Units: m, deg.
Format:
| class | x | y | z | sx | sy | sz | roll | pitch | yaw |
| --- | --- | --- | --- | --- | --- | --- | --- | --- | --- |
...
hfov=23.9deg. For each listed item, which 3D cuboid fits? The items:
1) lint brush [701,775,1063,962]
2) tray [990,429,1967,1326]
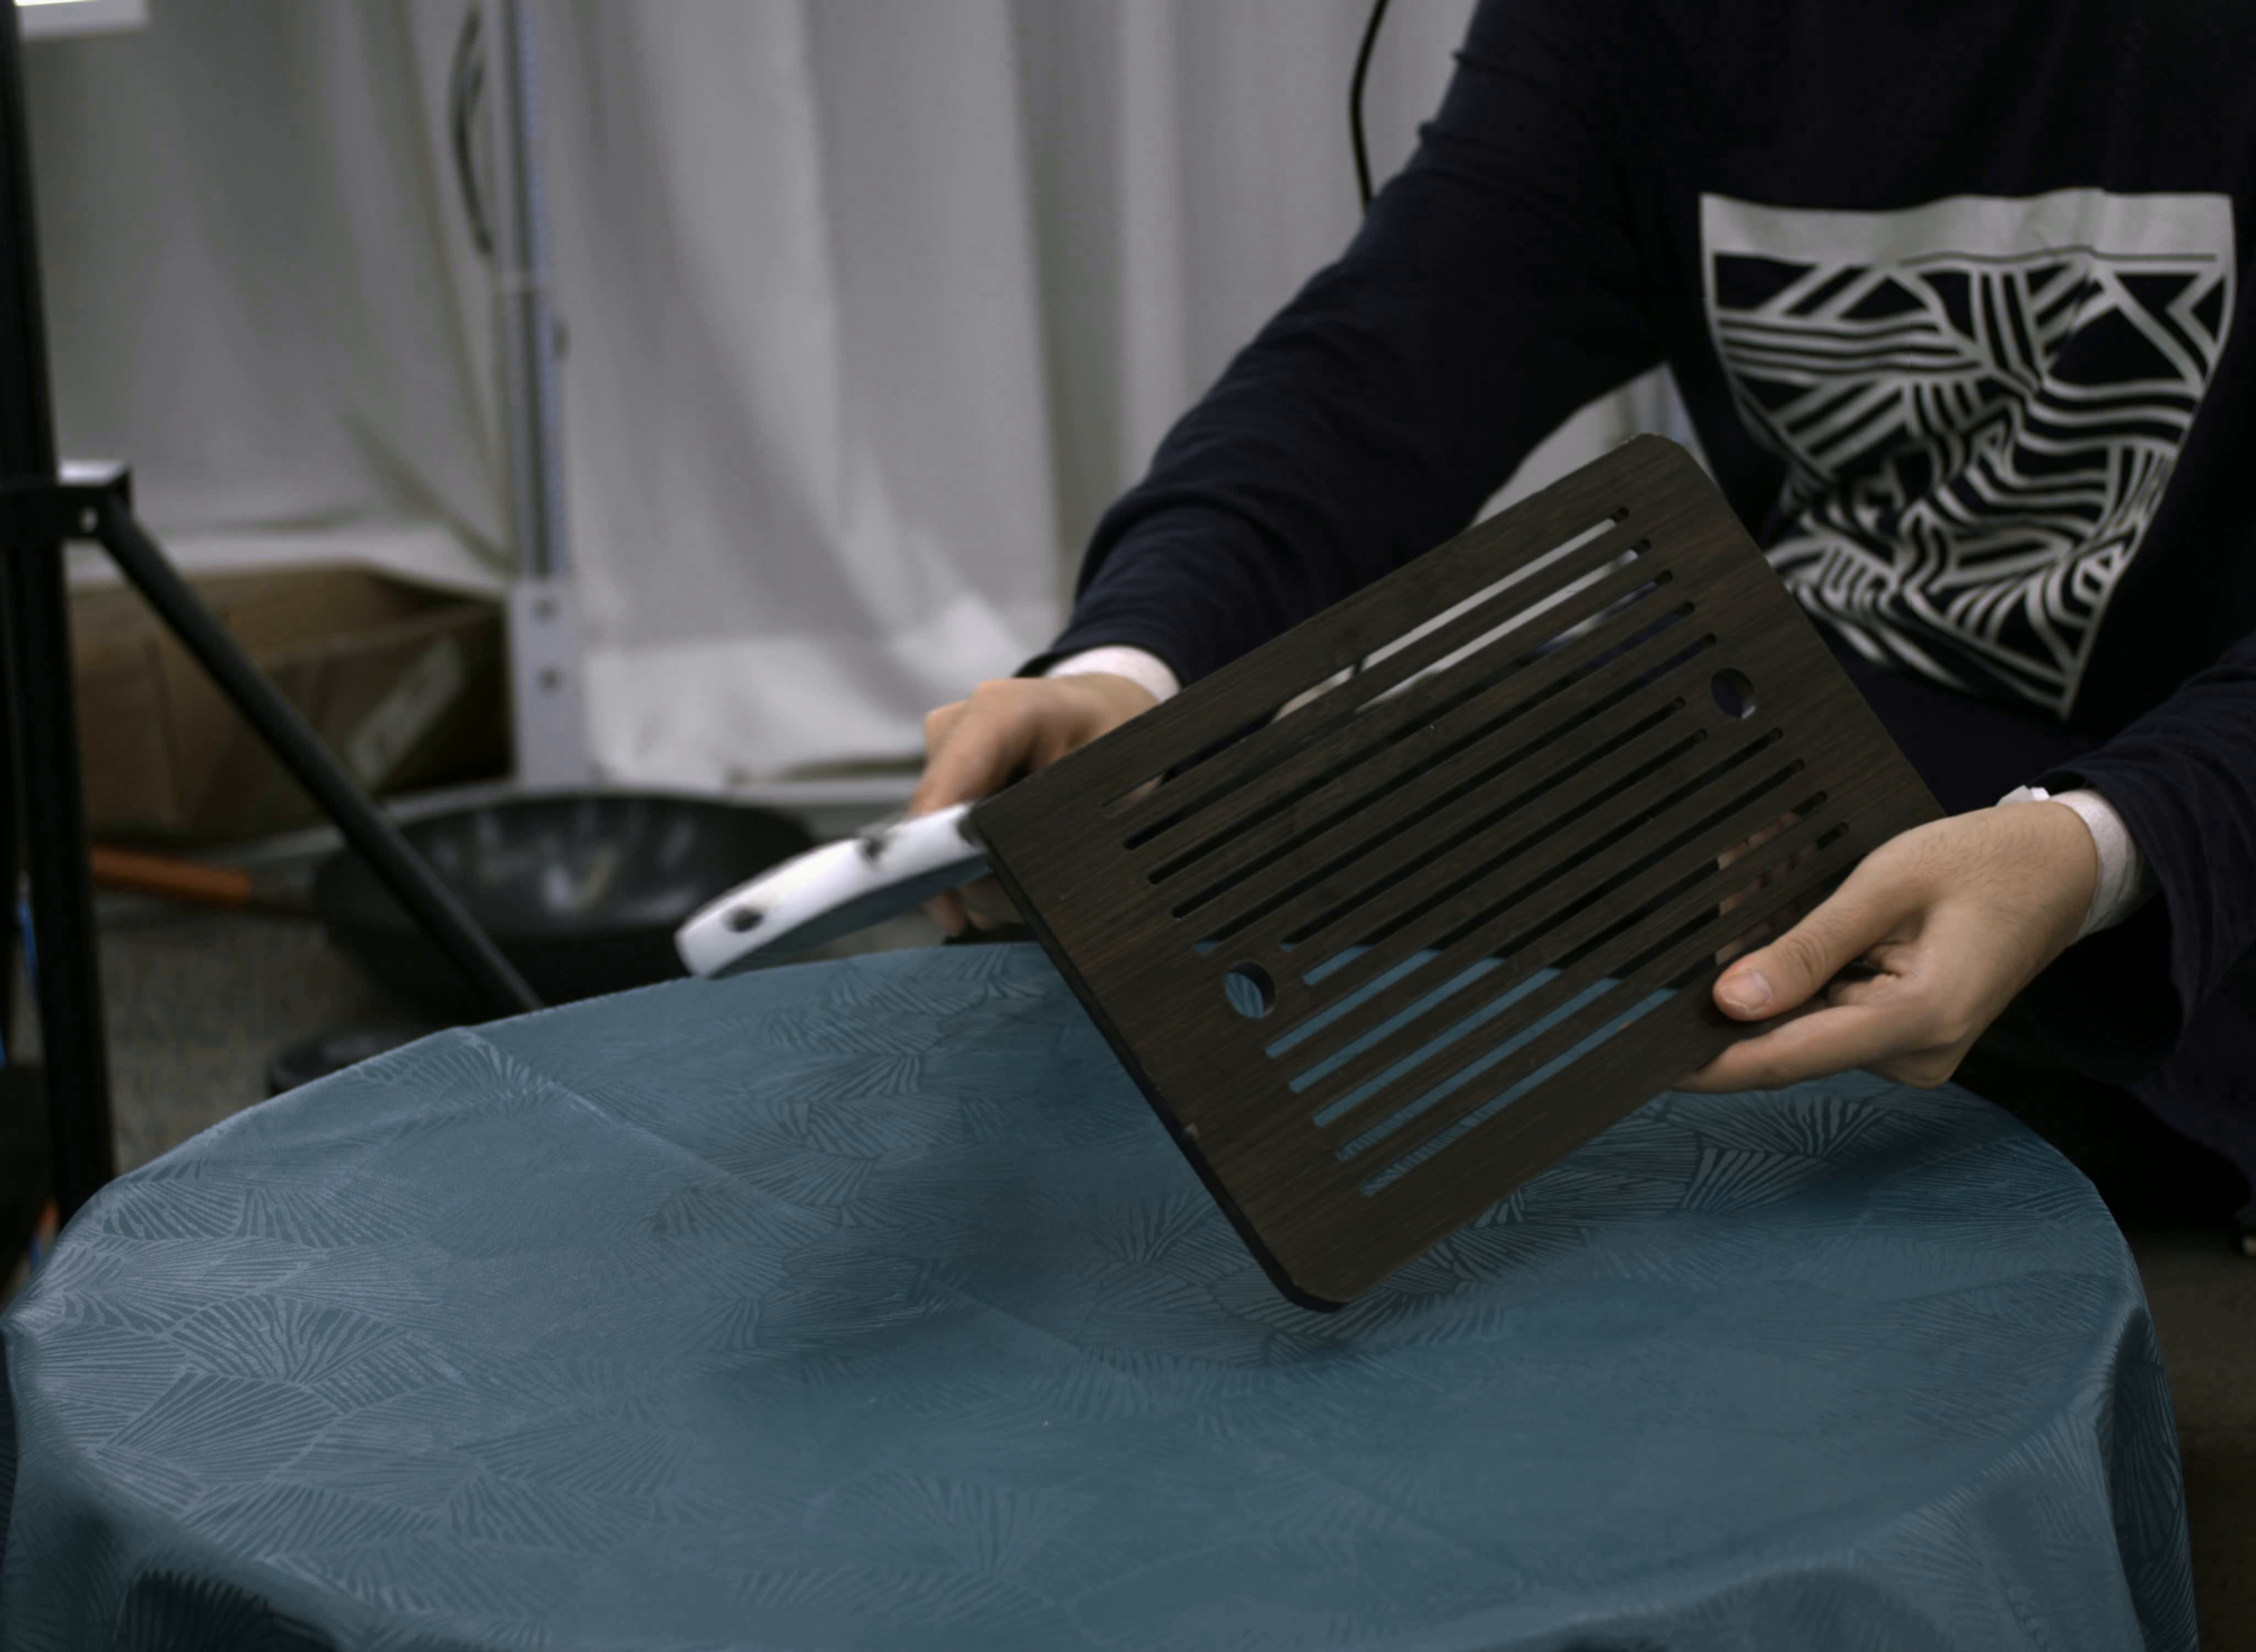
| class | x | y | z | sx | sy | sz | roll | pitch | yaw |
| --- | --- | --- | --- | --- | --- | --- | --- | --- | --- |
| lint brush | -0.058 | 0.007 | 1.604 | 0.060 | 0.021 | 0.305 | -32 | -4 | 16 |
| tray | 0.106 | 0.009 | 1.529 | 0.300 | 0.171 | 0.019 | -30 | -9 | -37 |
